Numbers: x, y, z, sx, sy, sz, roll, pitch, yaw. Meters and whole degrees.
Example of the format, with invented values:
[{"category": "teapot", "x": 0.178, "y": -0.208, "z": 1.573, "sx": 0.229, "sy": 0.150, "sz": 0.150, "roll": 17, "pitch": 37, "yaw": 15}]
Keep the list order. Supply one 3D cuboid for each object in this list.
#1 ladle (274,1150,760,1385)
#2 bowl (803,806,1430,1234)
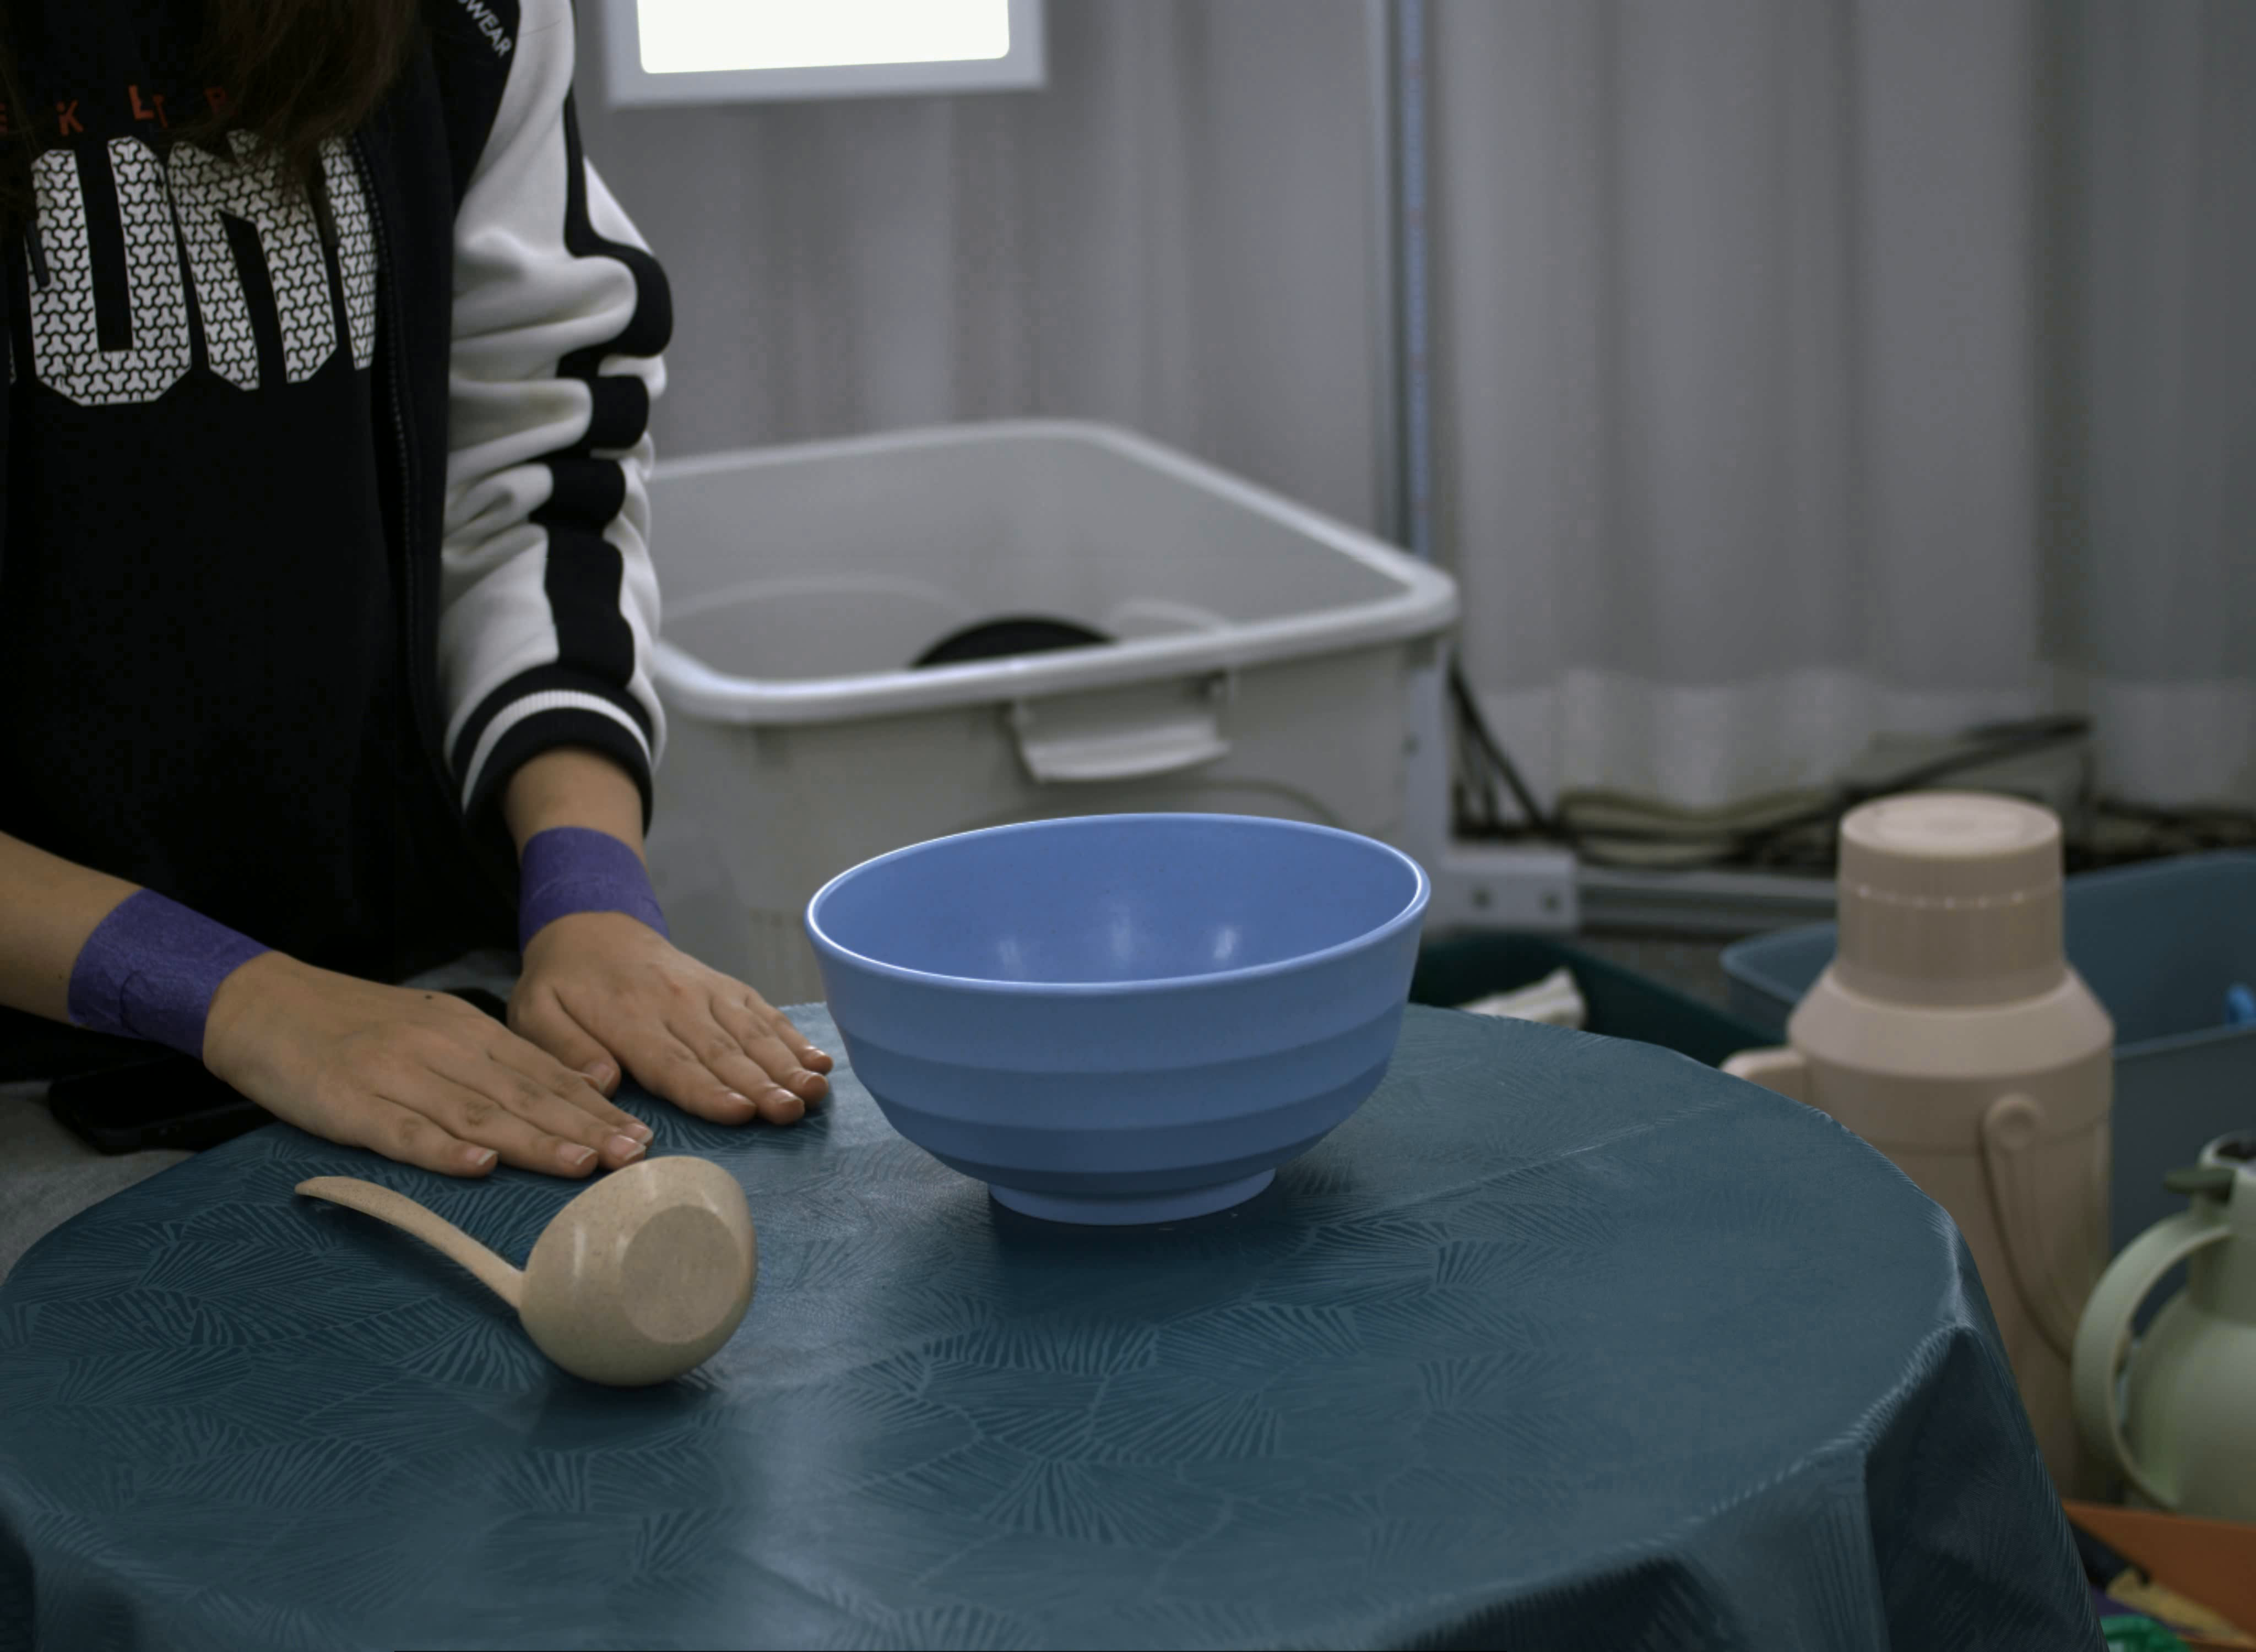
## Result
[{"category": "ladle", "x": -0.195, "y": 0.106, "z": 1.641, "sx": 0.072, "sy": 0.072, "sz": 0.256, "roll": -3, "pitch": 12, "yaw": -34}, {"category": "bowl", "x": -0.001, "y": 0.068, "z": 1.716, "sx": 0.196, "sy": 0.095, "sz": 0.198, "roll": -4, "pitch": 17, "yaw": 1}]
